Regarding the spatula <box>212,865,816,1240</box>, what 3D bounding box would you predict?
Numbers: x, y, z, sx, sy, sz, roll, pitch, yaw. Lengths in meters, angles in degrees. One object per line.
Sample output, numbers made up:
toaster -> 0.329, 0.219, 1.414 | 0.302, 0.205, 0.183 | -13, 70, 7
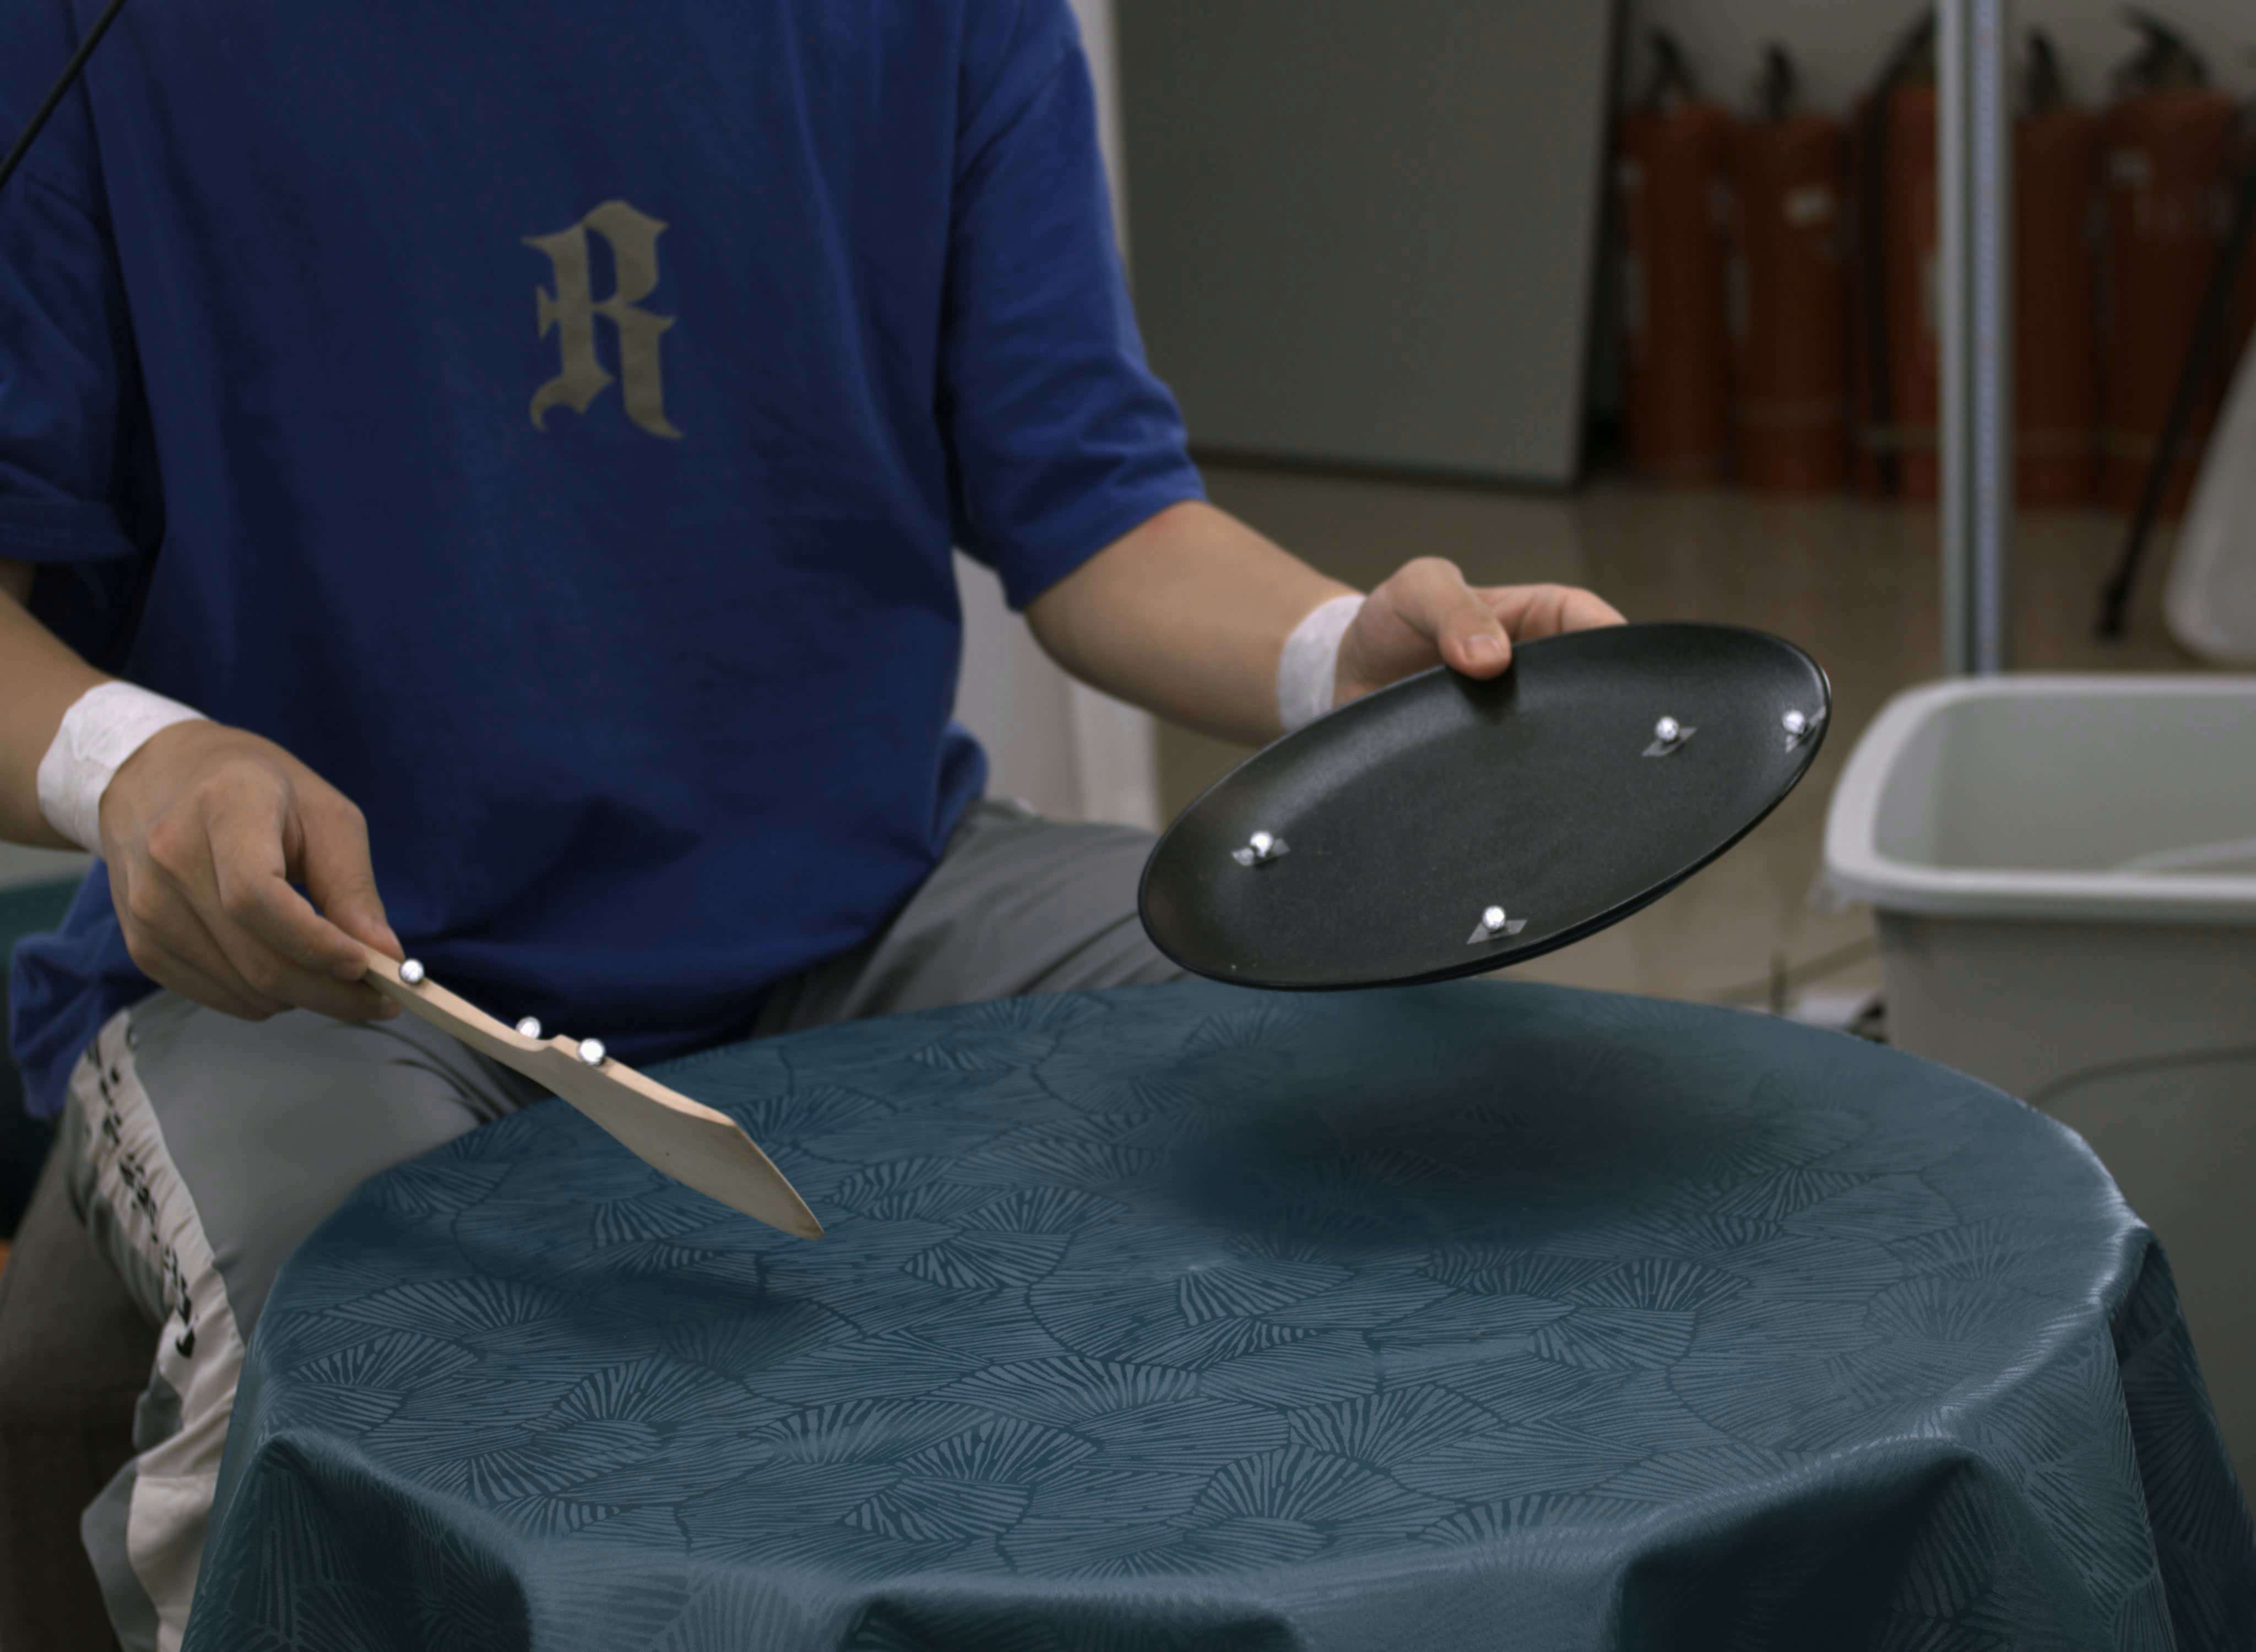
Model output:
spatula -> -0.210, 0.065, 1.756 | 0.296, 0.071, 0.010 | 25, 70, 42

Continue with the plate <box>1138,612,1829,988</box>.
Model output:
plate -> 0.119, -0.003, 1.791 | 0.243, 0.023, 0.245 | -19, 22, 7
